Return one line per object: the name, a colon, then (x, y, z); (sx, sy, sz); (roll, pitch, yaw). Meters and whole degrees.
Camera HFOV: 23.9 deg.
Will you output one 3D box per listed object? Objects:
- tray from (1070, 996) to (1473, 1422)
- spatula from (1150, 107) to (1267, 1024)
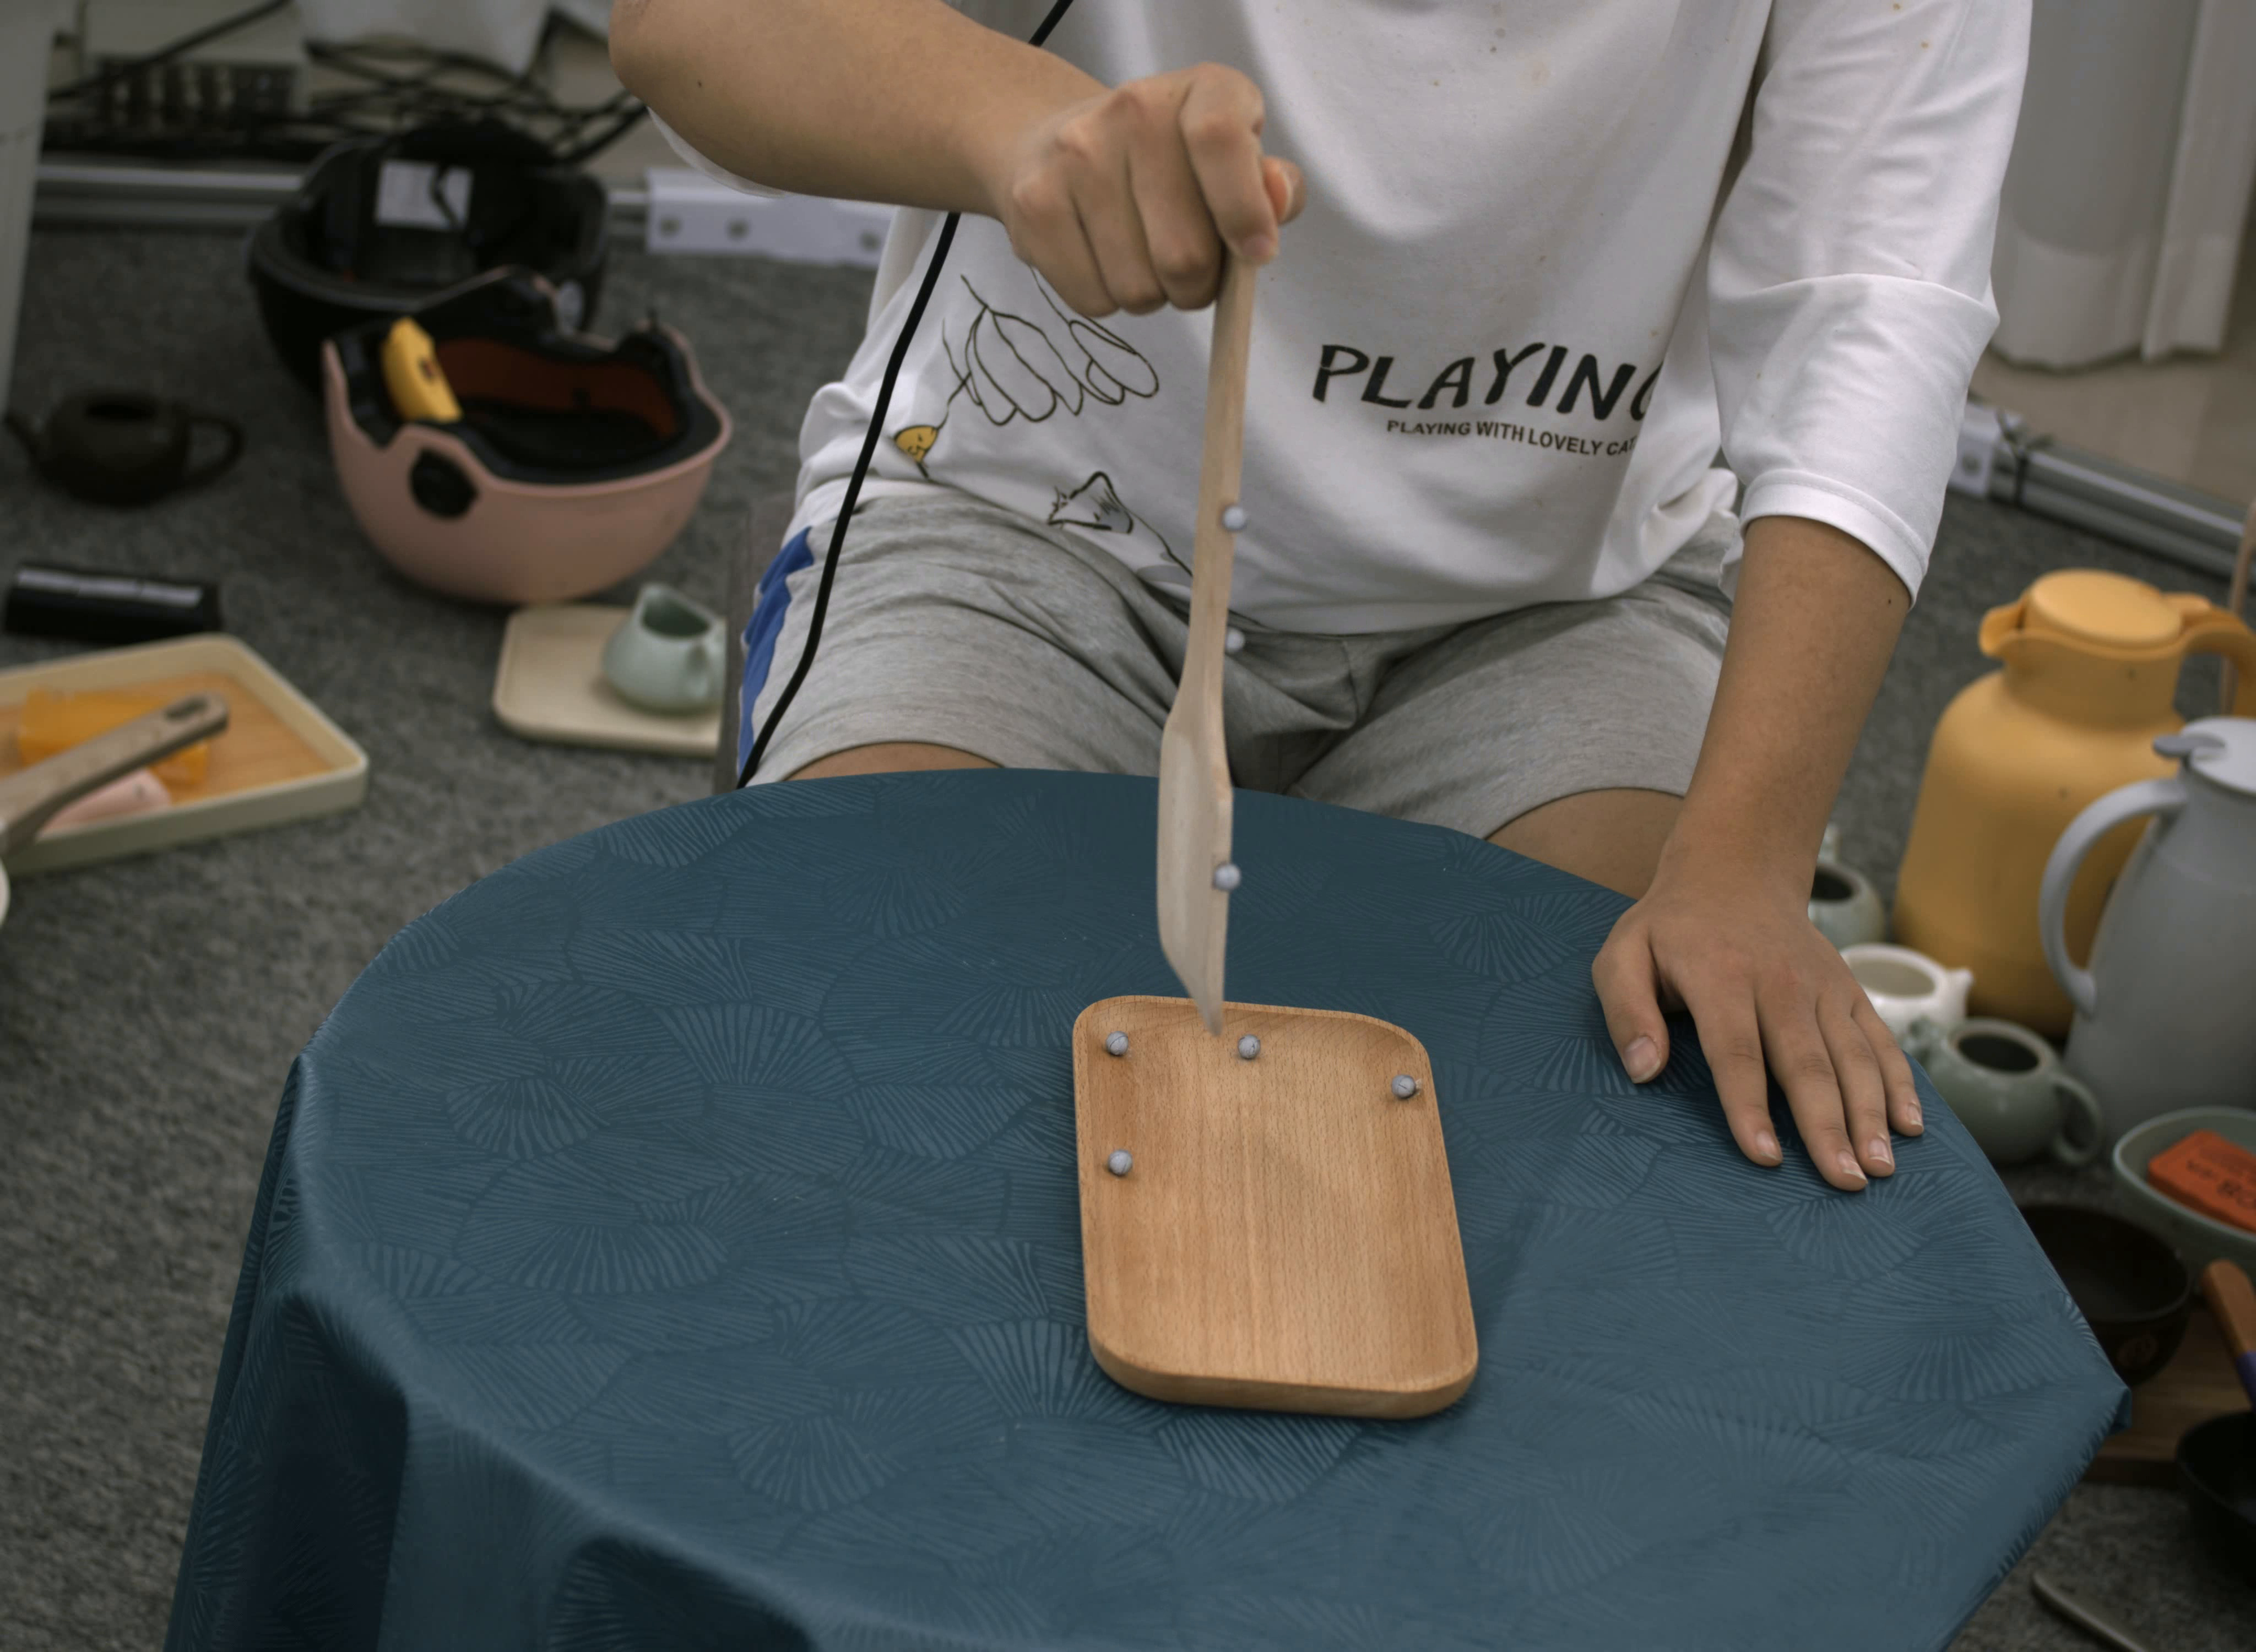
tray: (0.045, 0.126, 1.794); (0.130, 0.023, 0.252); (3, 27, -2)
spatula: (0.027, -0.082, 1.673); (0.010, 0.292, 0.073); (-1, 22, -13)
